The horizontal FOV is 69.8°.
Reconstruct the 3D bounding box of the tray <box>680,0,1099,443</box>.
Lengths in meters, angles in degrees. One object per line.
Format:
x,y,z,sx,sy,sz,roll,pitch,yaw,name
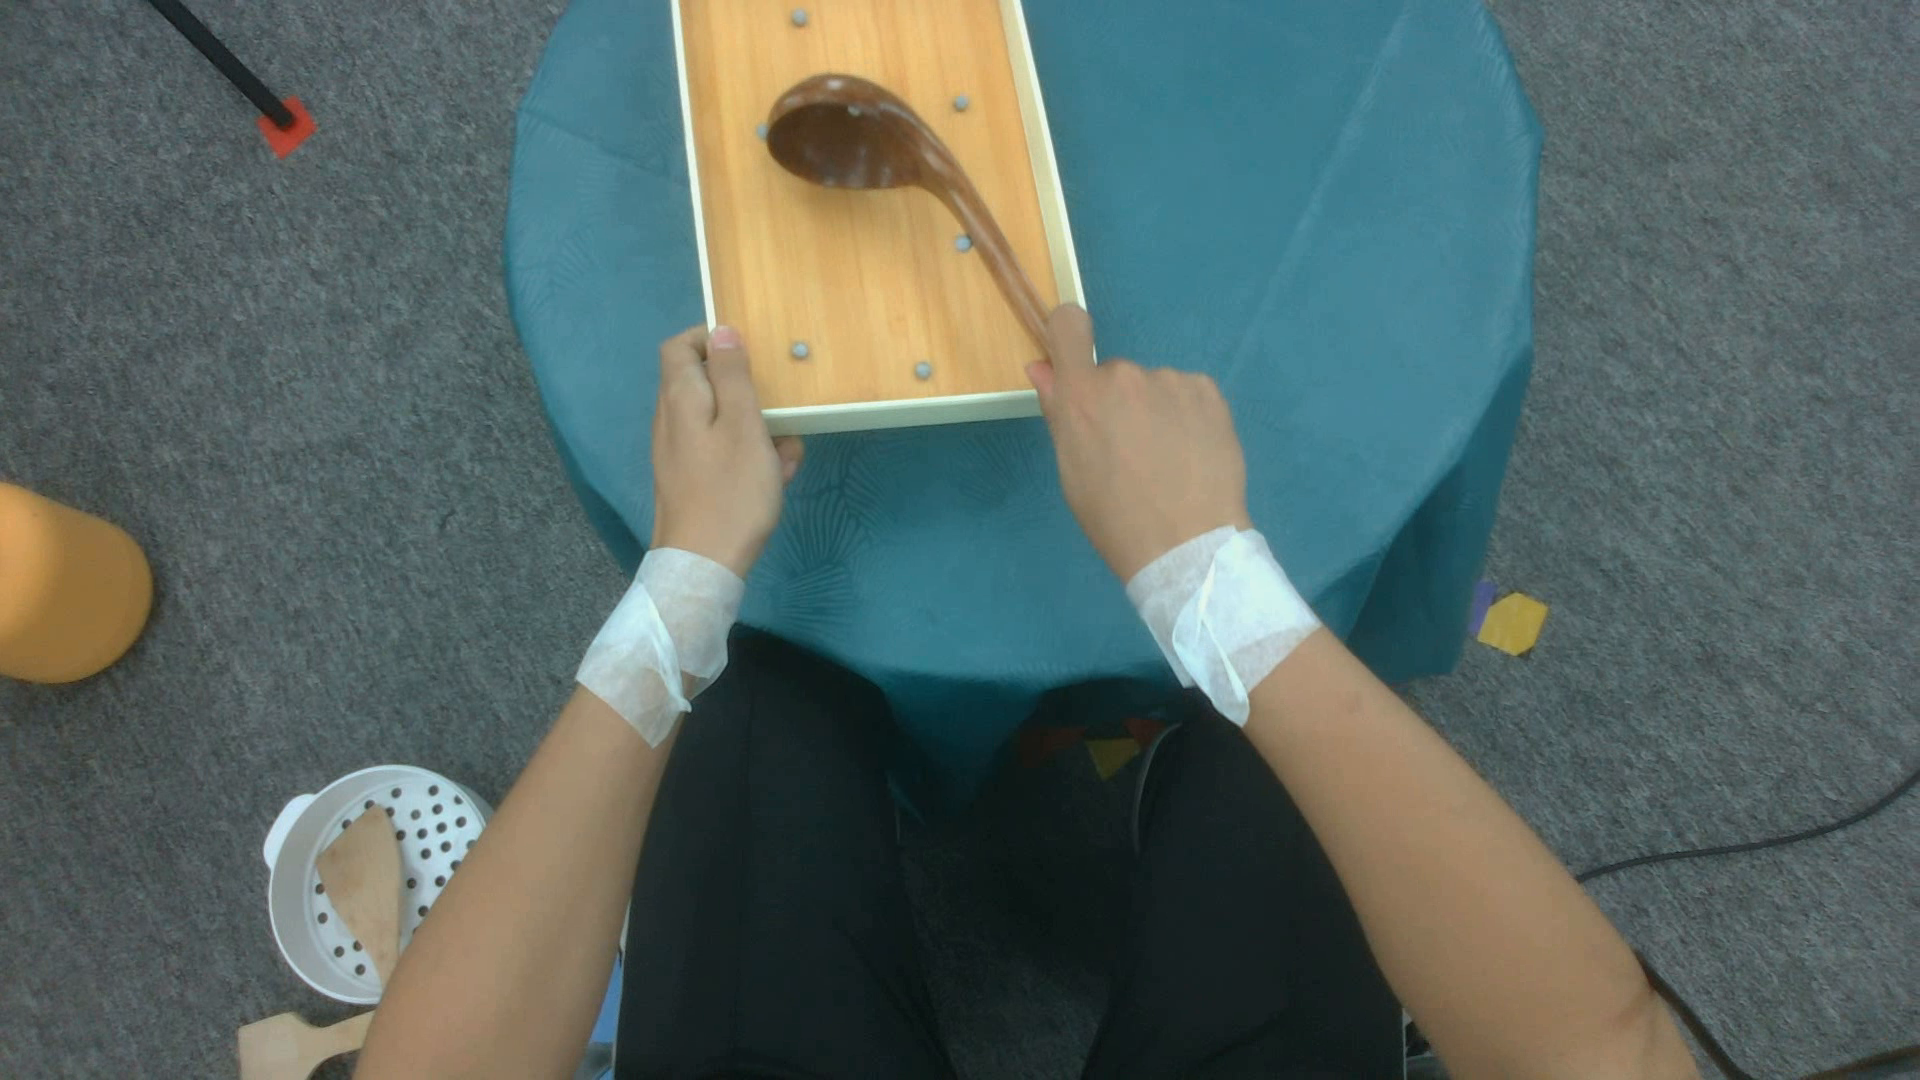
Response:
-0.044,-0.196,0.743,0.192,0.027,0.301,-5,68,-11,tray

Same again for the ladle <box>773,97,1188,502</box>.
0.002,-0.112,0.674,0.076,0.082,0.274,-35,74,4,ladle
